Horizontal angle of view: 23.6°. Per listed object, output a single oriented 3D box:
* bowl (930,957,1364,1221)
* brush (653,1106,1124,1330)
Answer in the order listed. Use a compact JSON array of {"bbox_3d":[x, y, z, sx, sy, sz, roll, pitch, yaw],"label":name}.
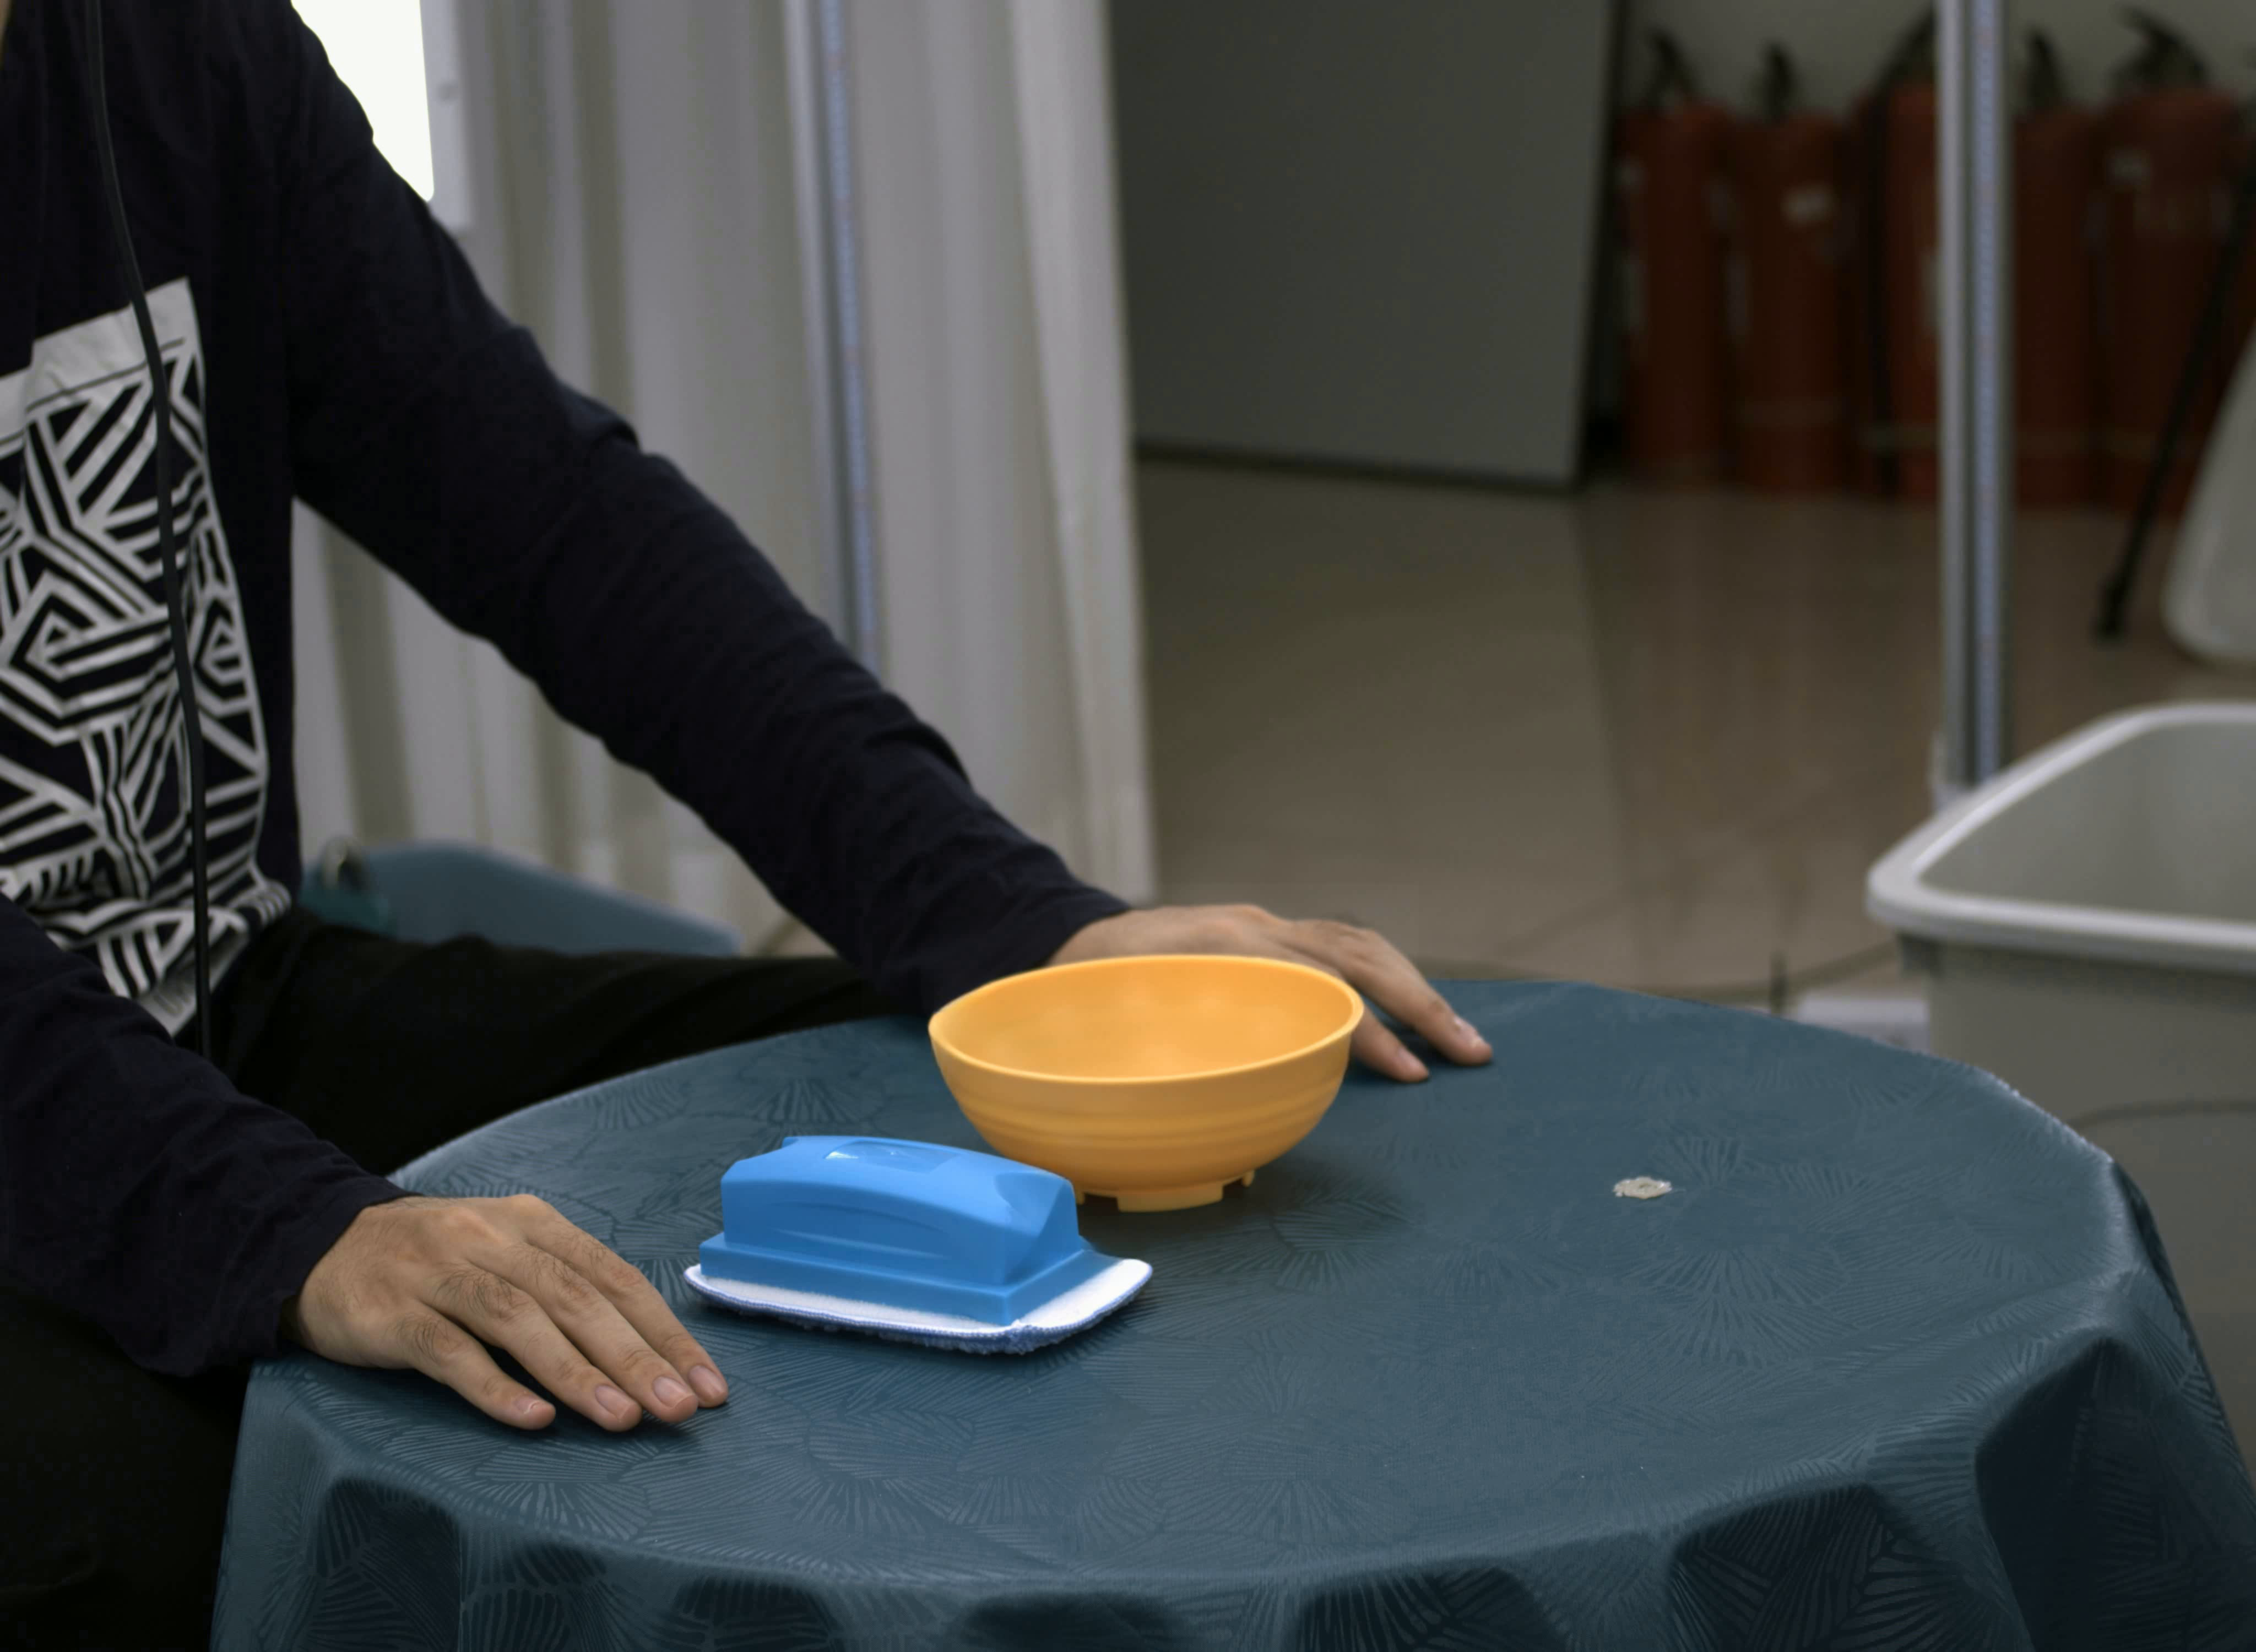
[{"bbox_3d":[0.007,0.091,1.776,0.143,0.061,0.145,-2,14,0],"label":"bowl"},{"bbox_3d":[-0.074,0.120,1.672,0.145,0.056,0.082,9,15,36],"label":"brush"}]
